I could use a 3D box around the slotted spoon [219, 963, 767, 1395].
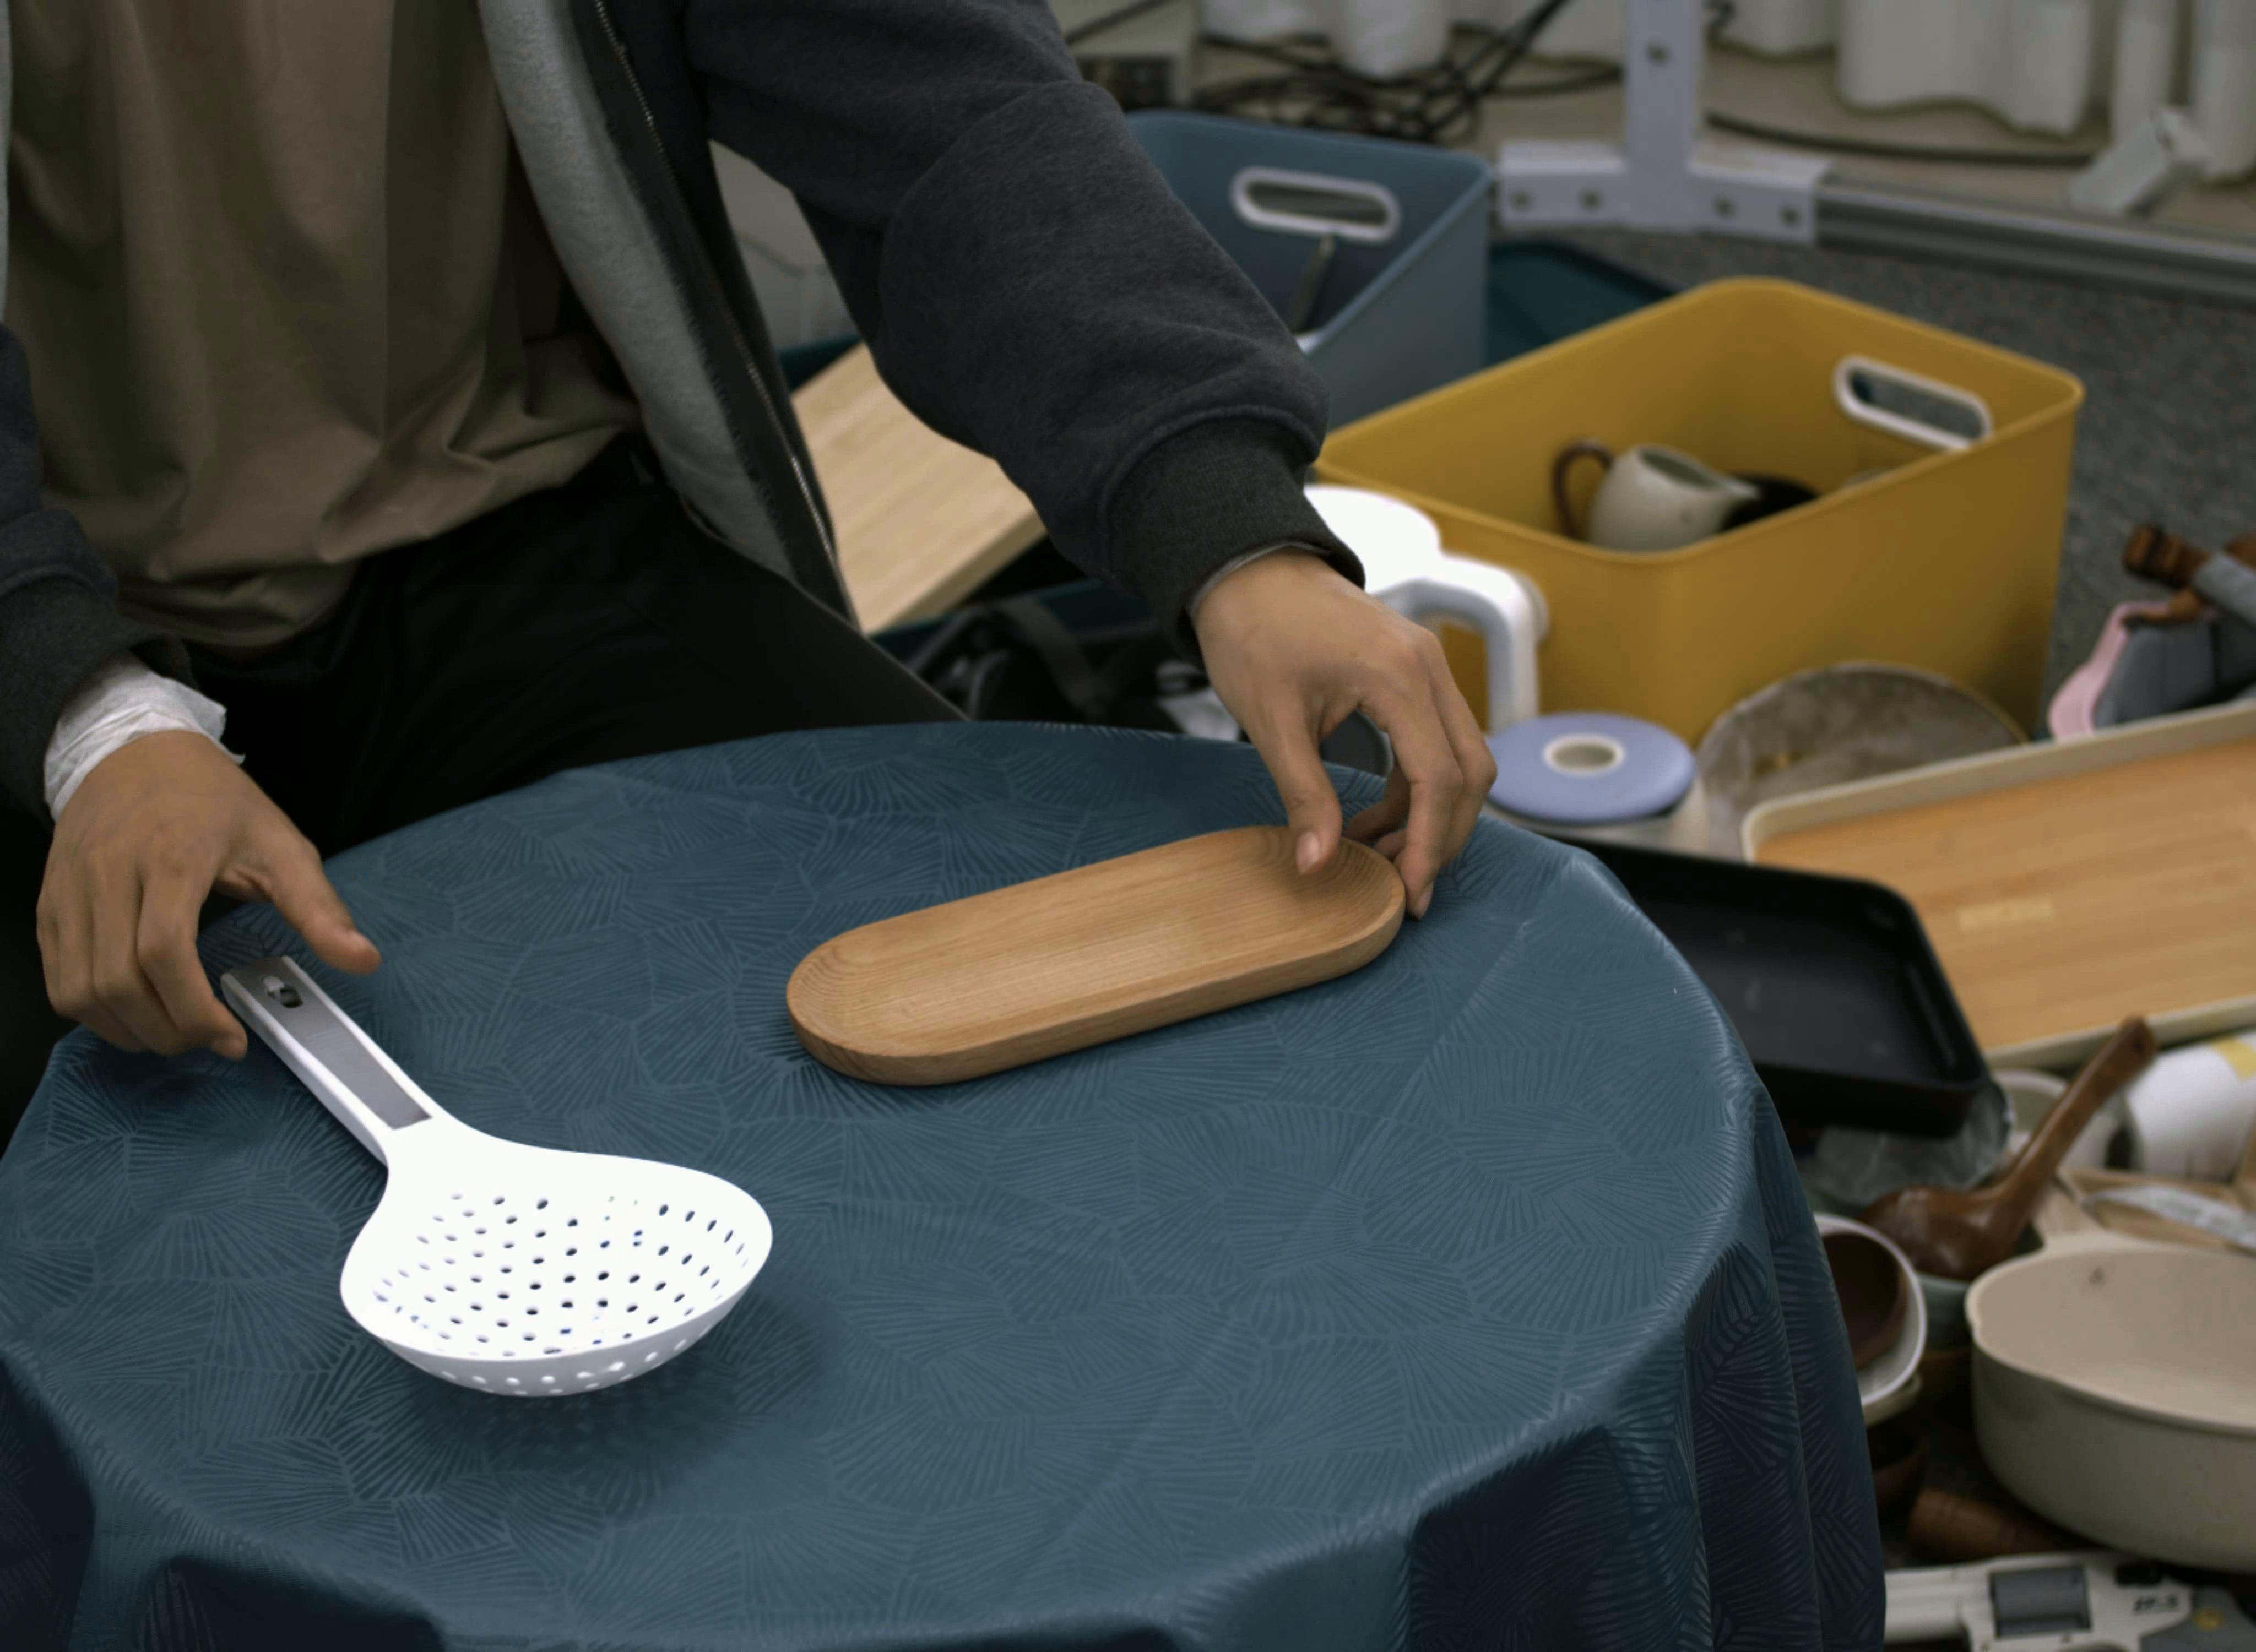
[{"bbox_3d":[-0.232,0.110,1.858,0.137,0.045,0.351,-15,29,-25],"label":"slotted spoon"}]

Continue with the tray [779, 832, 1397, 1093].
[{"bbox_3d":[-0.013,0.048,1.988,0.232,0.020,0.102,-16,29,-22],"label":"tray"}]
